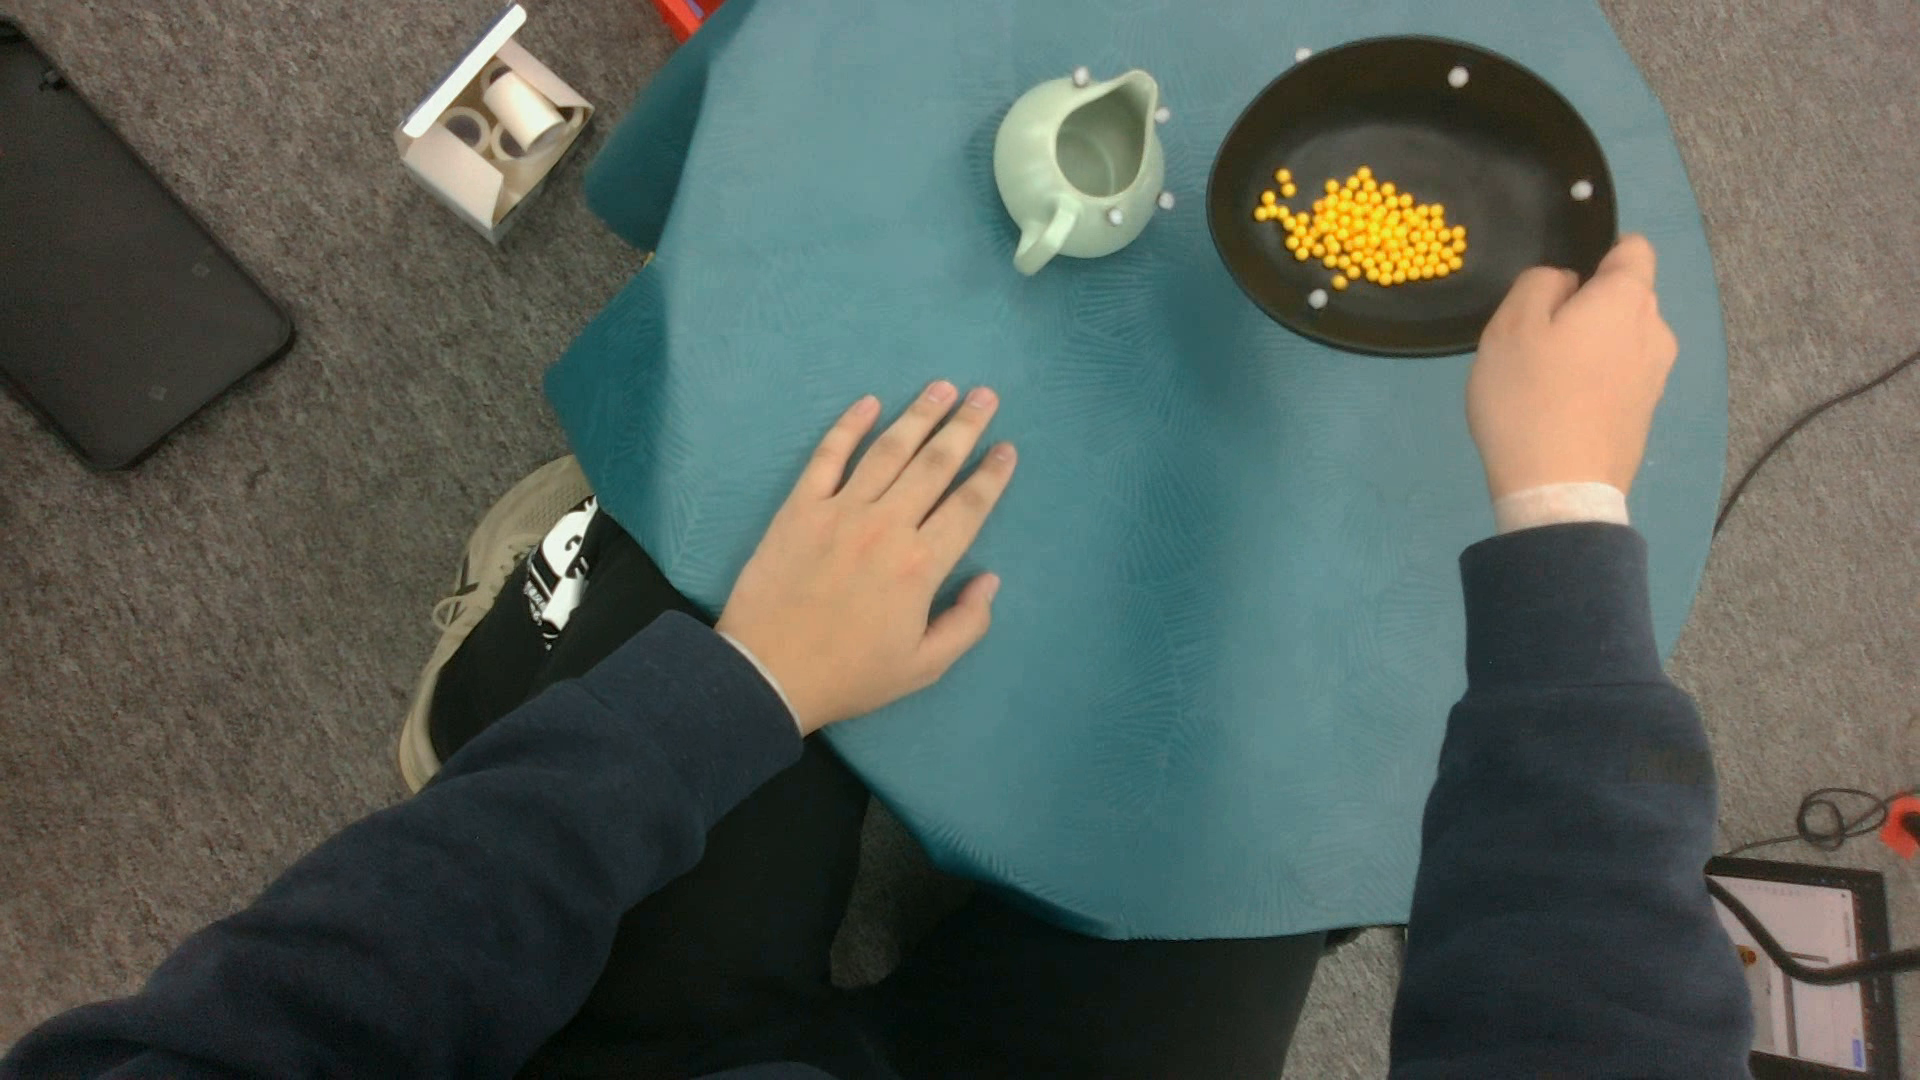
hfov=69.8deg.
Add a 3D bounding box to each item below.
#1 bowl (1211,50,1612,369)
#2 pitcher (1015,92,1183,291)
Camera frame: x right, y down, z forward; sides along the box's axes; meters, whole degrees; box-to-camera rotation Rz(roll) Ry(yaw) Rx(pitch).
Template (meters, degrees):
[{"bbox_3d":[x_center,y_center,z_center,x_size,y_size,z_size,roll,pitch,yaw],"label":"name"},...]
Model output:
[{"bbox_3d":[0.200,-0.141,0.619,0.170,0.067,0.137,13,90,17],"label":"bowl"},{"bbox_3d":[0.065,-0.167,0.674,0.086,0.060,0.108,31,82,-11],"label":"pitcher"}]
